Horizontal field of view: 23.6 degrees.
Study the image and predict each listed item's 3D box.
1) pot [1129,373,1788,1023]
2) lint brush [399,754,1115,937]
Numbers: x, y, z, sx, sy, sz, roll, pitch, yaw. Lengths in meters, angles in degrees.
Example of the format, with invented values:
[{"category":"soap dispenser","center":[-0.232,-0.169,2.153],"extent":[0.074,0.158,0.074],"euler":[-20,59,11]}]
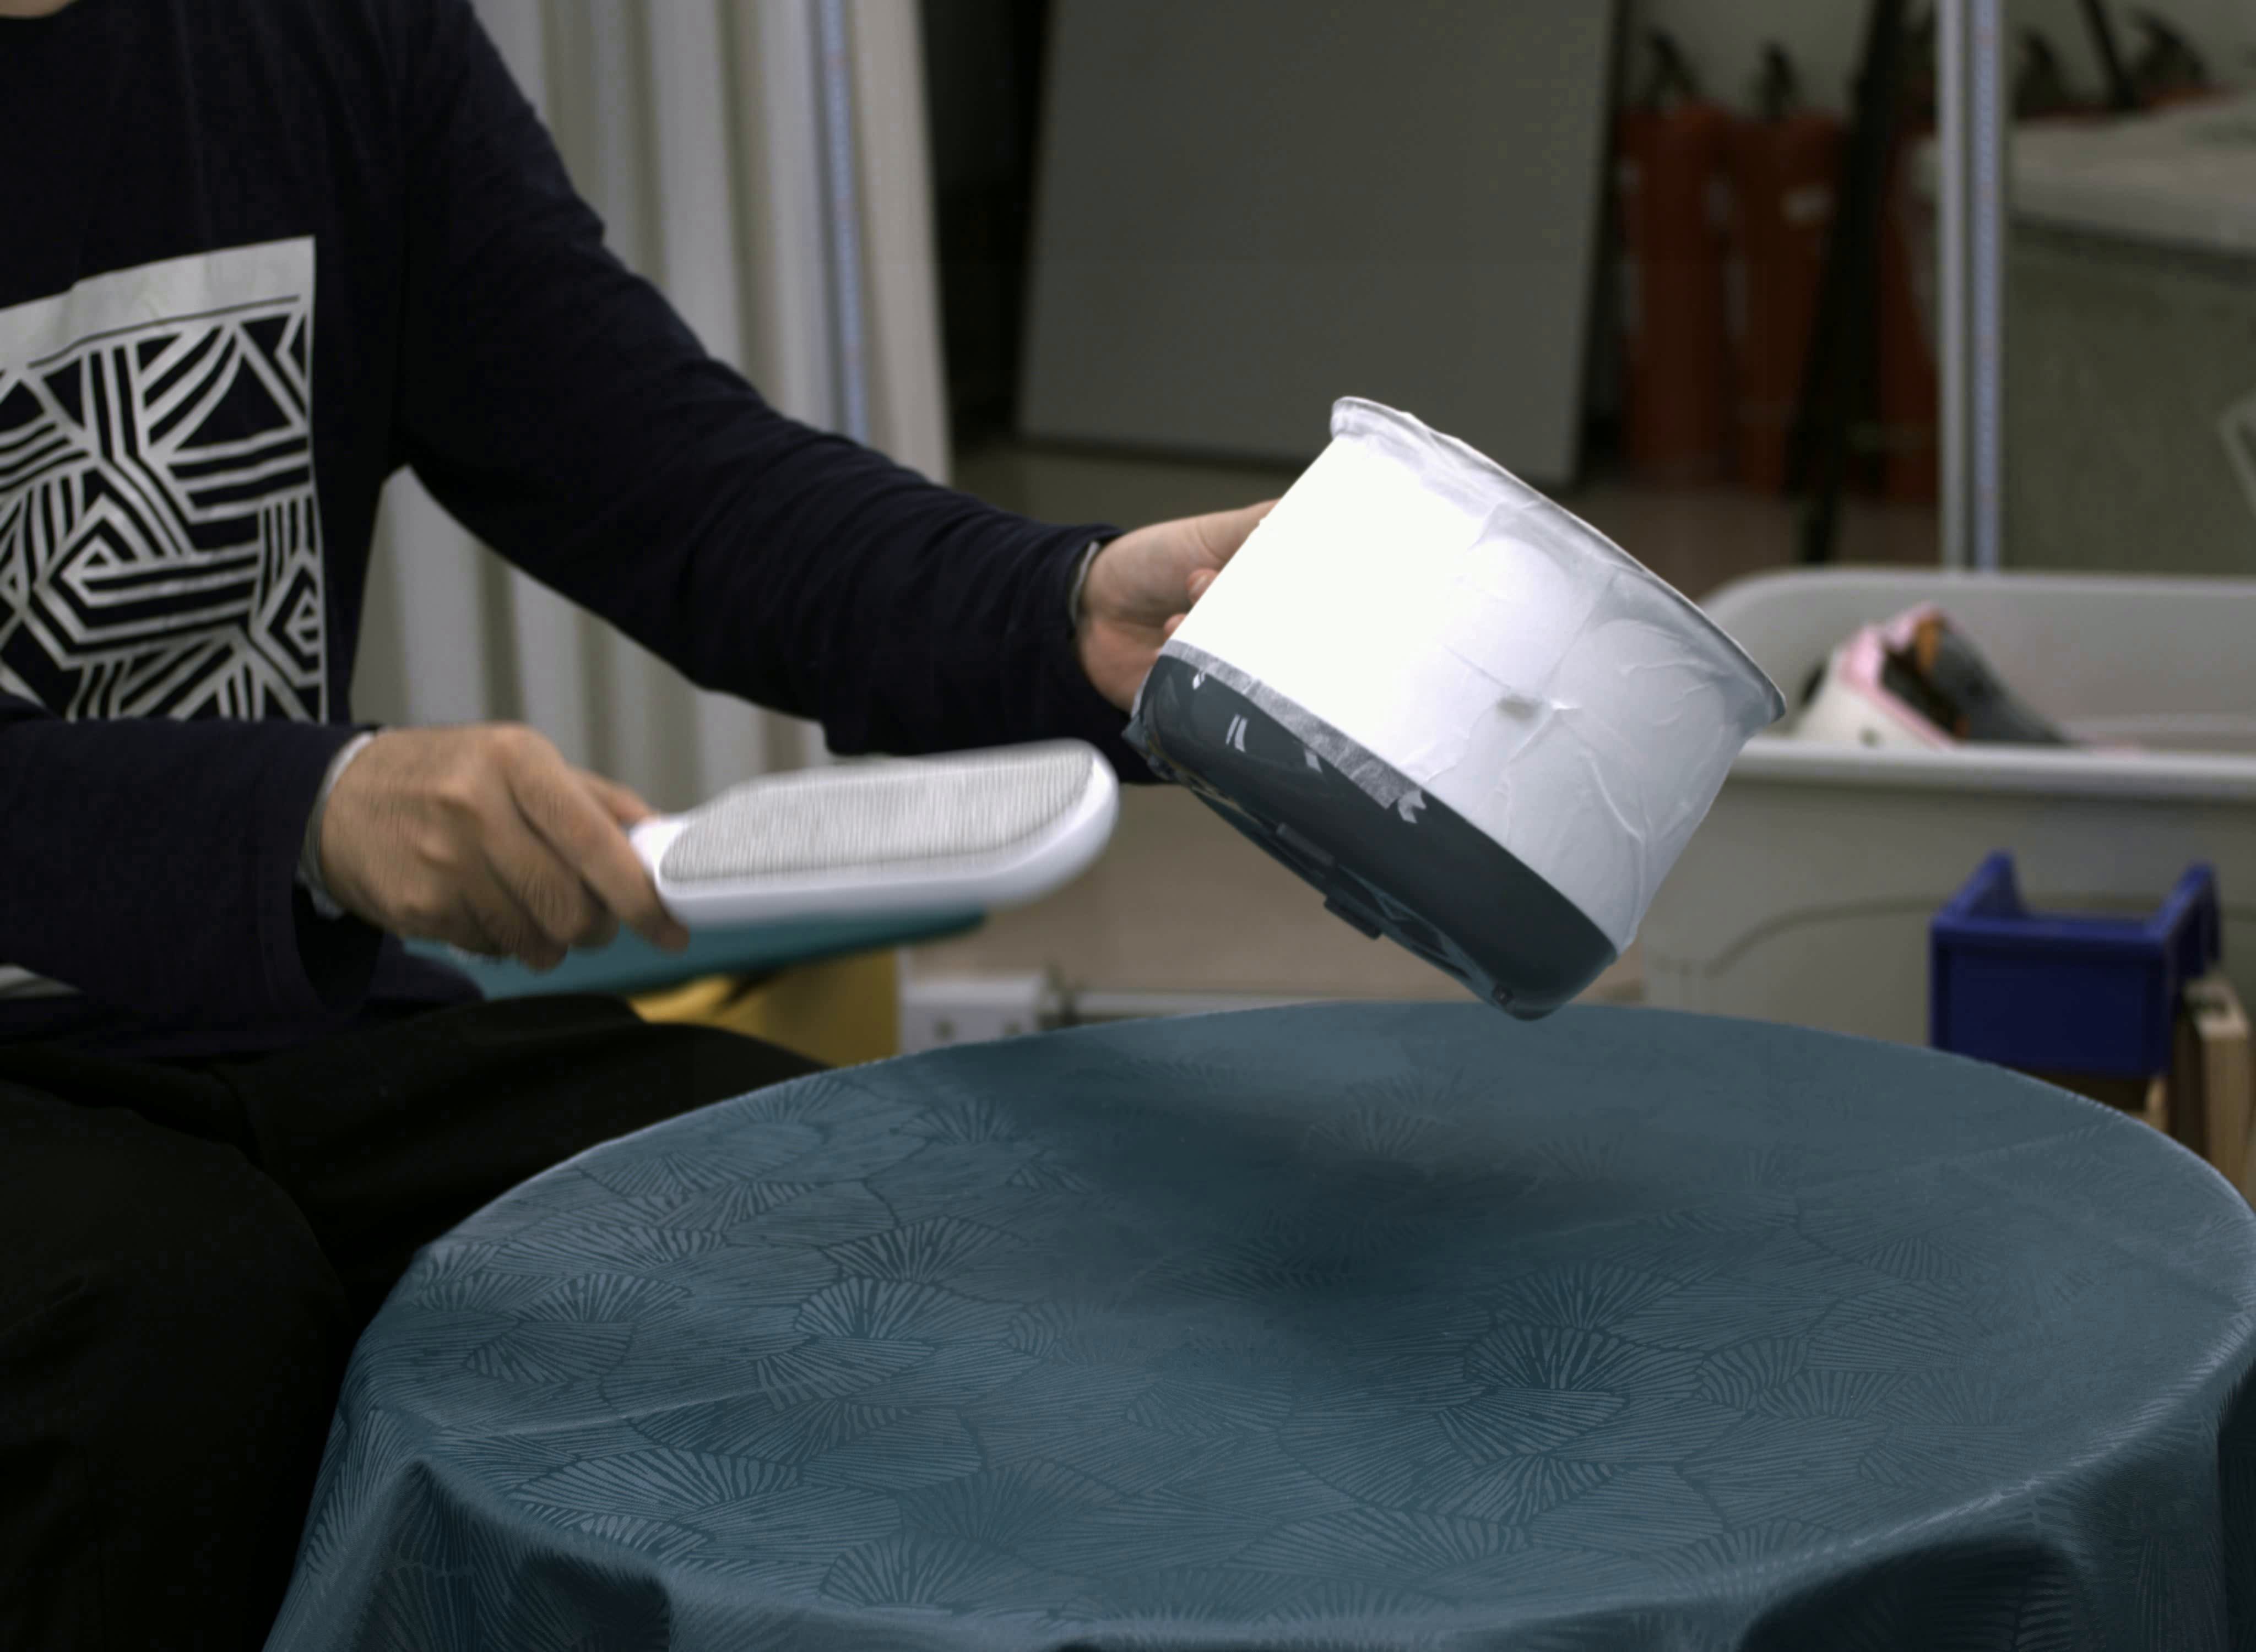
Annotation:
[{"category":"pot","center":[0.091,-0.046,1.747],"extent":[0.176,0.137,0.236],"euler":[41,-6,-31]},{"category":"lint brush","center":[-0.120,0.010,1.655],"extent":[0.311,0.021,0.060],"euler":[-5,41,44]}]
